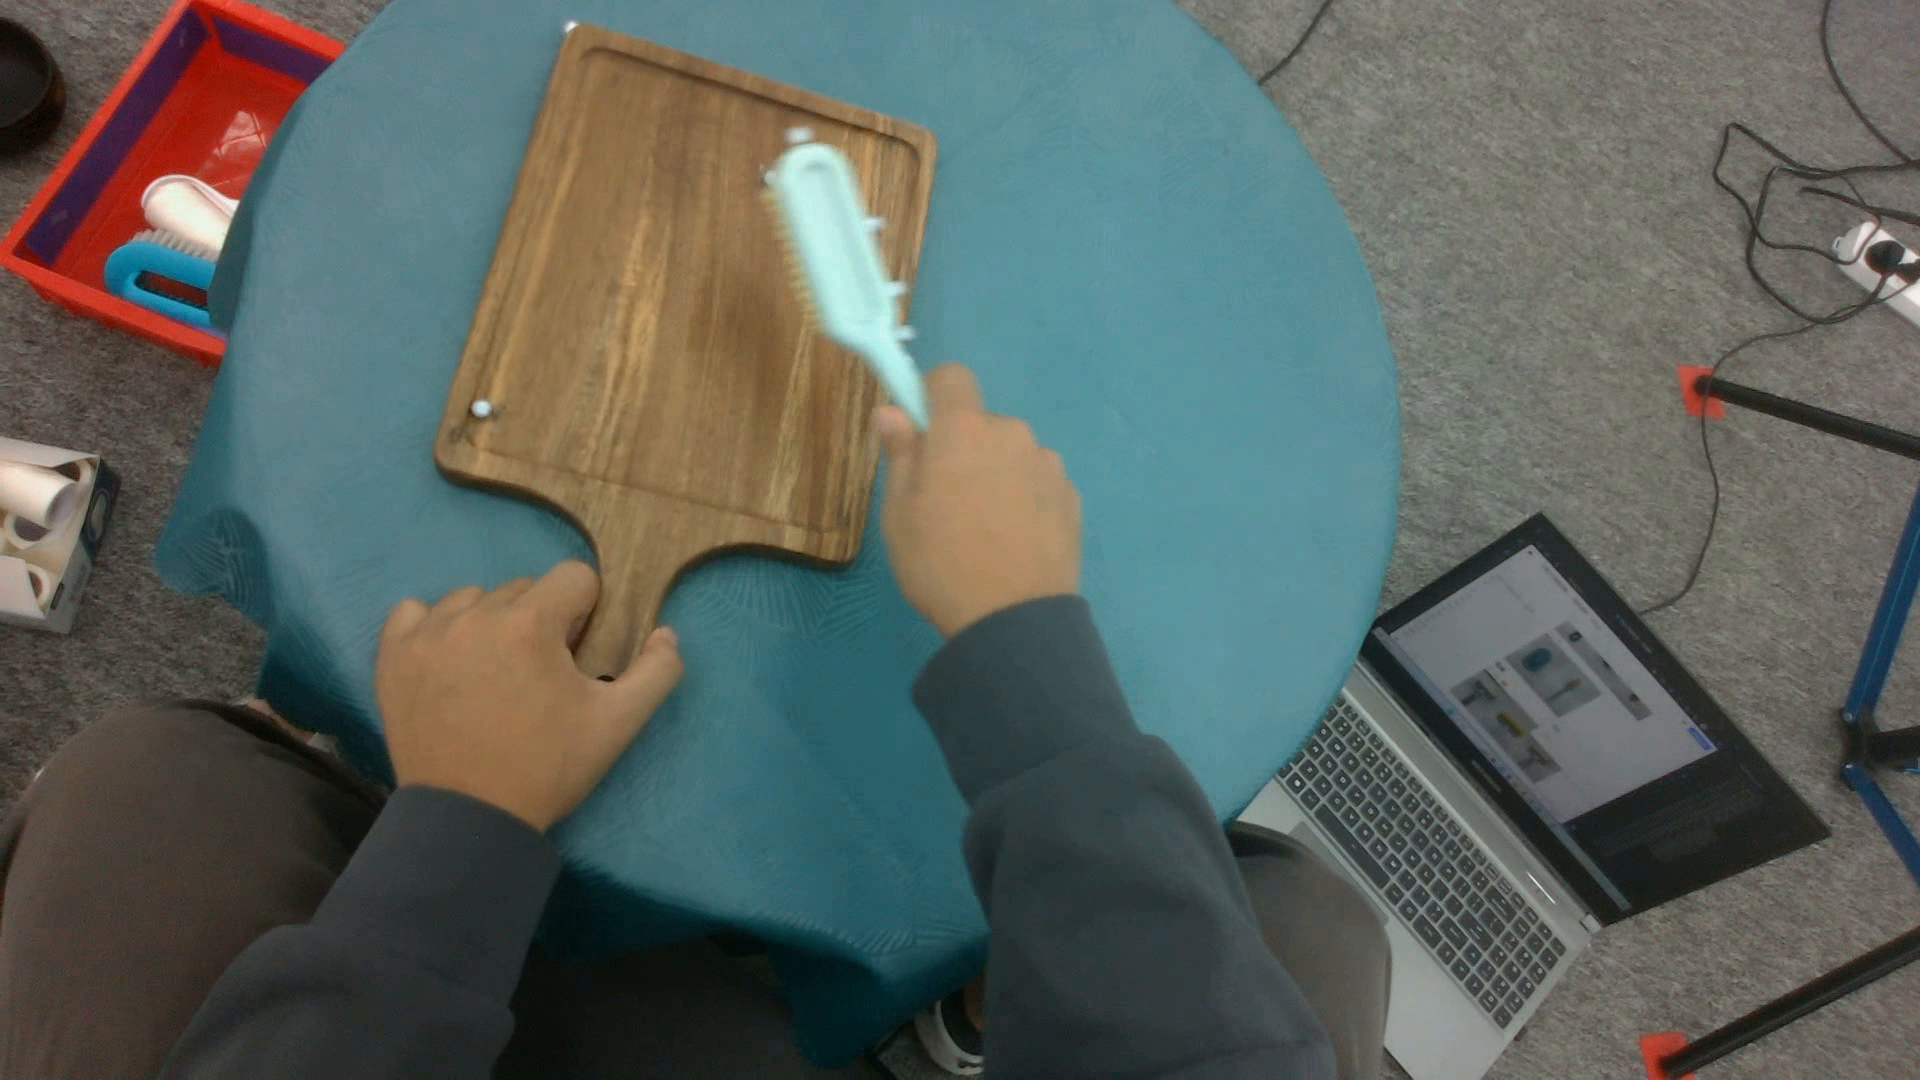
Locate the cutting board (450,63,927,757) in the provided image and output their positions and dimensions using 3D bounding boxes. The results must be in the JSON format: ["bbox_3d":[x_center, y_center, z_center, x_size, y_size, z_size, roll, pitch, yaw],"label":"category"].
[{"bbox_3d":[-0.134,-0.068,0.680,0.201,0.023,0.353,12,70,-10],"label":"cutting board"}]

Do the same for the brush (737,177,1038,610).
[{"bbox_3d":[-0.033,-0.065,0.633,0.038,0.049,0.229,-30,80,-25],"label":"brush"}]
